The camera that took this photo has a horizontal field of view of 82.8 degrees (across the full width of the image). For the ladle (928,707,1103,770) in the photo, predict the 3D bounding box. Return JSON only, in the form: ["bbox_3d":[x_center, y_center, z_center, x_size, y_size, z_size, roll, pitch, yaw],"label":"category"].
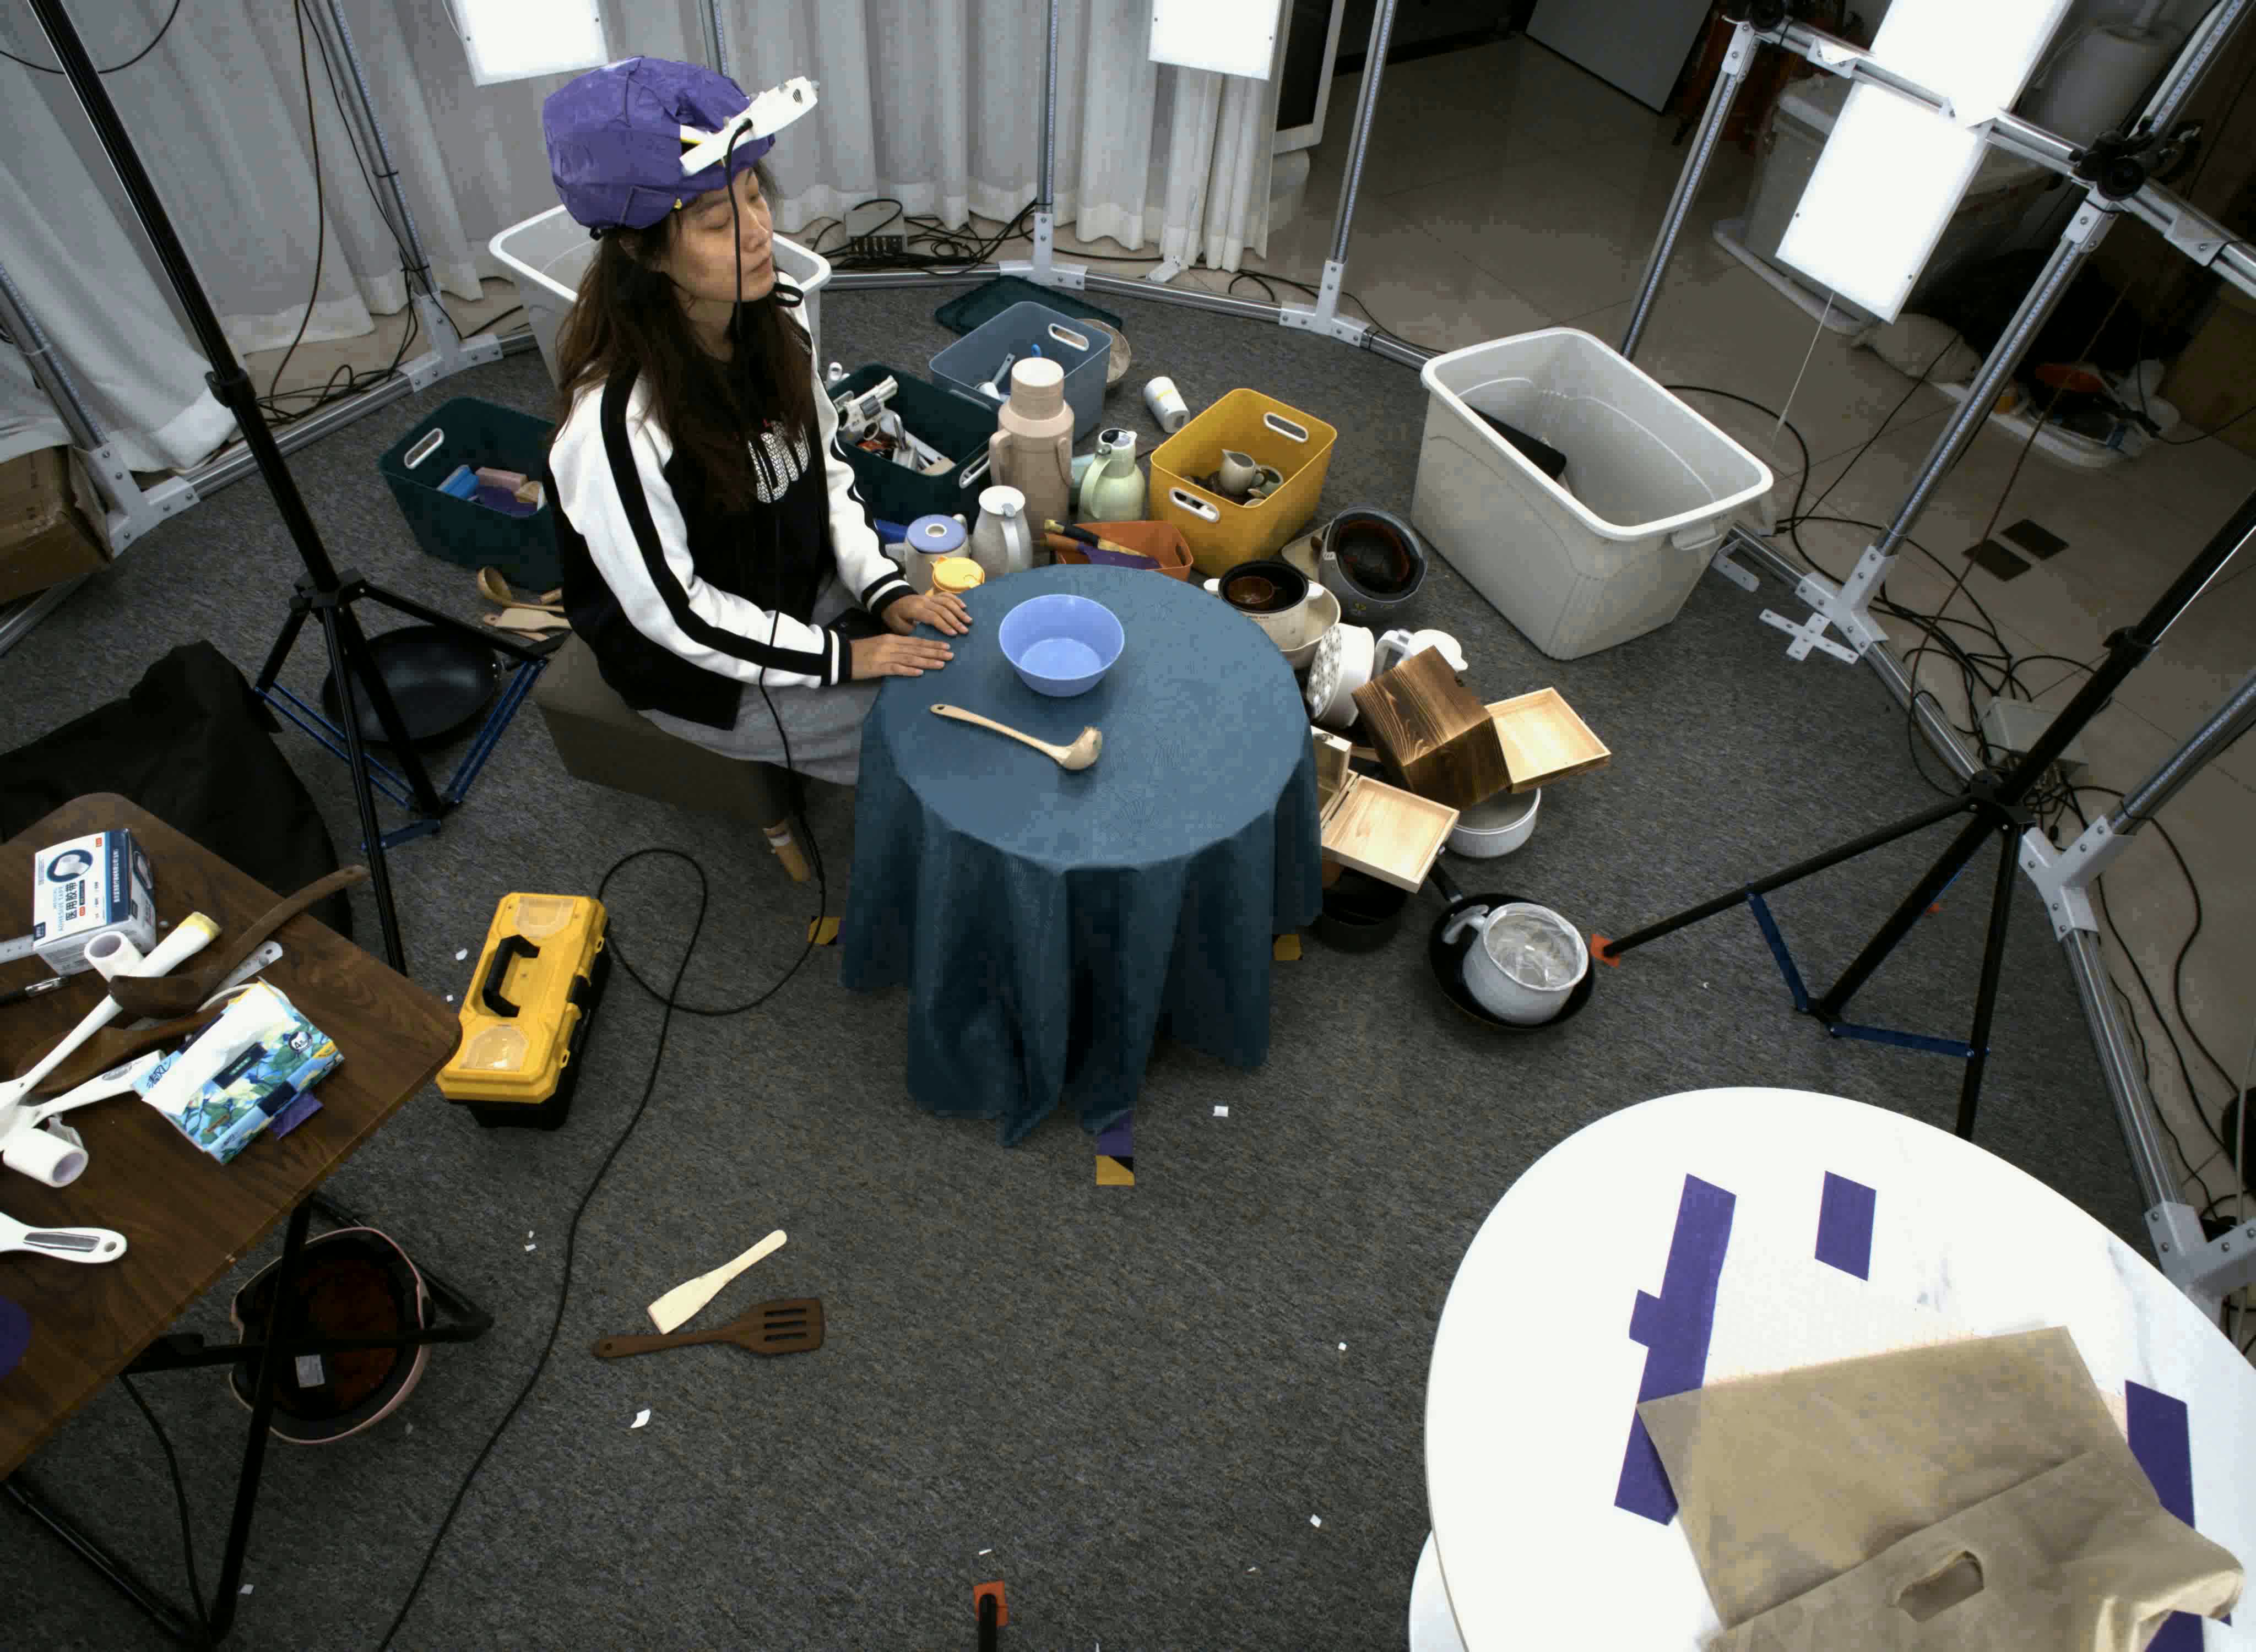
[{"bbox_3d":[-0.157,-0.142,1.736,0.256,0.071,0.073,19,49,13],"label":"ladle"}]

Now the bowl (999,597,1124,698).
[{"bbox_3d":[-0.095,-0.246,1.833,0.176,0.068,0.180,2,48,-3],"label":"bowl"}]
